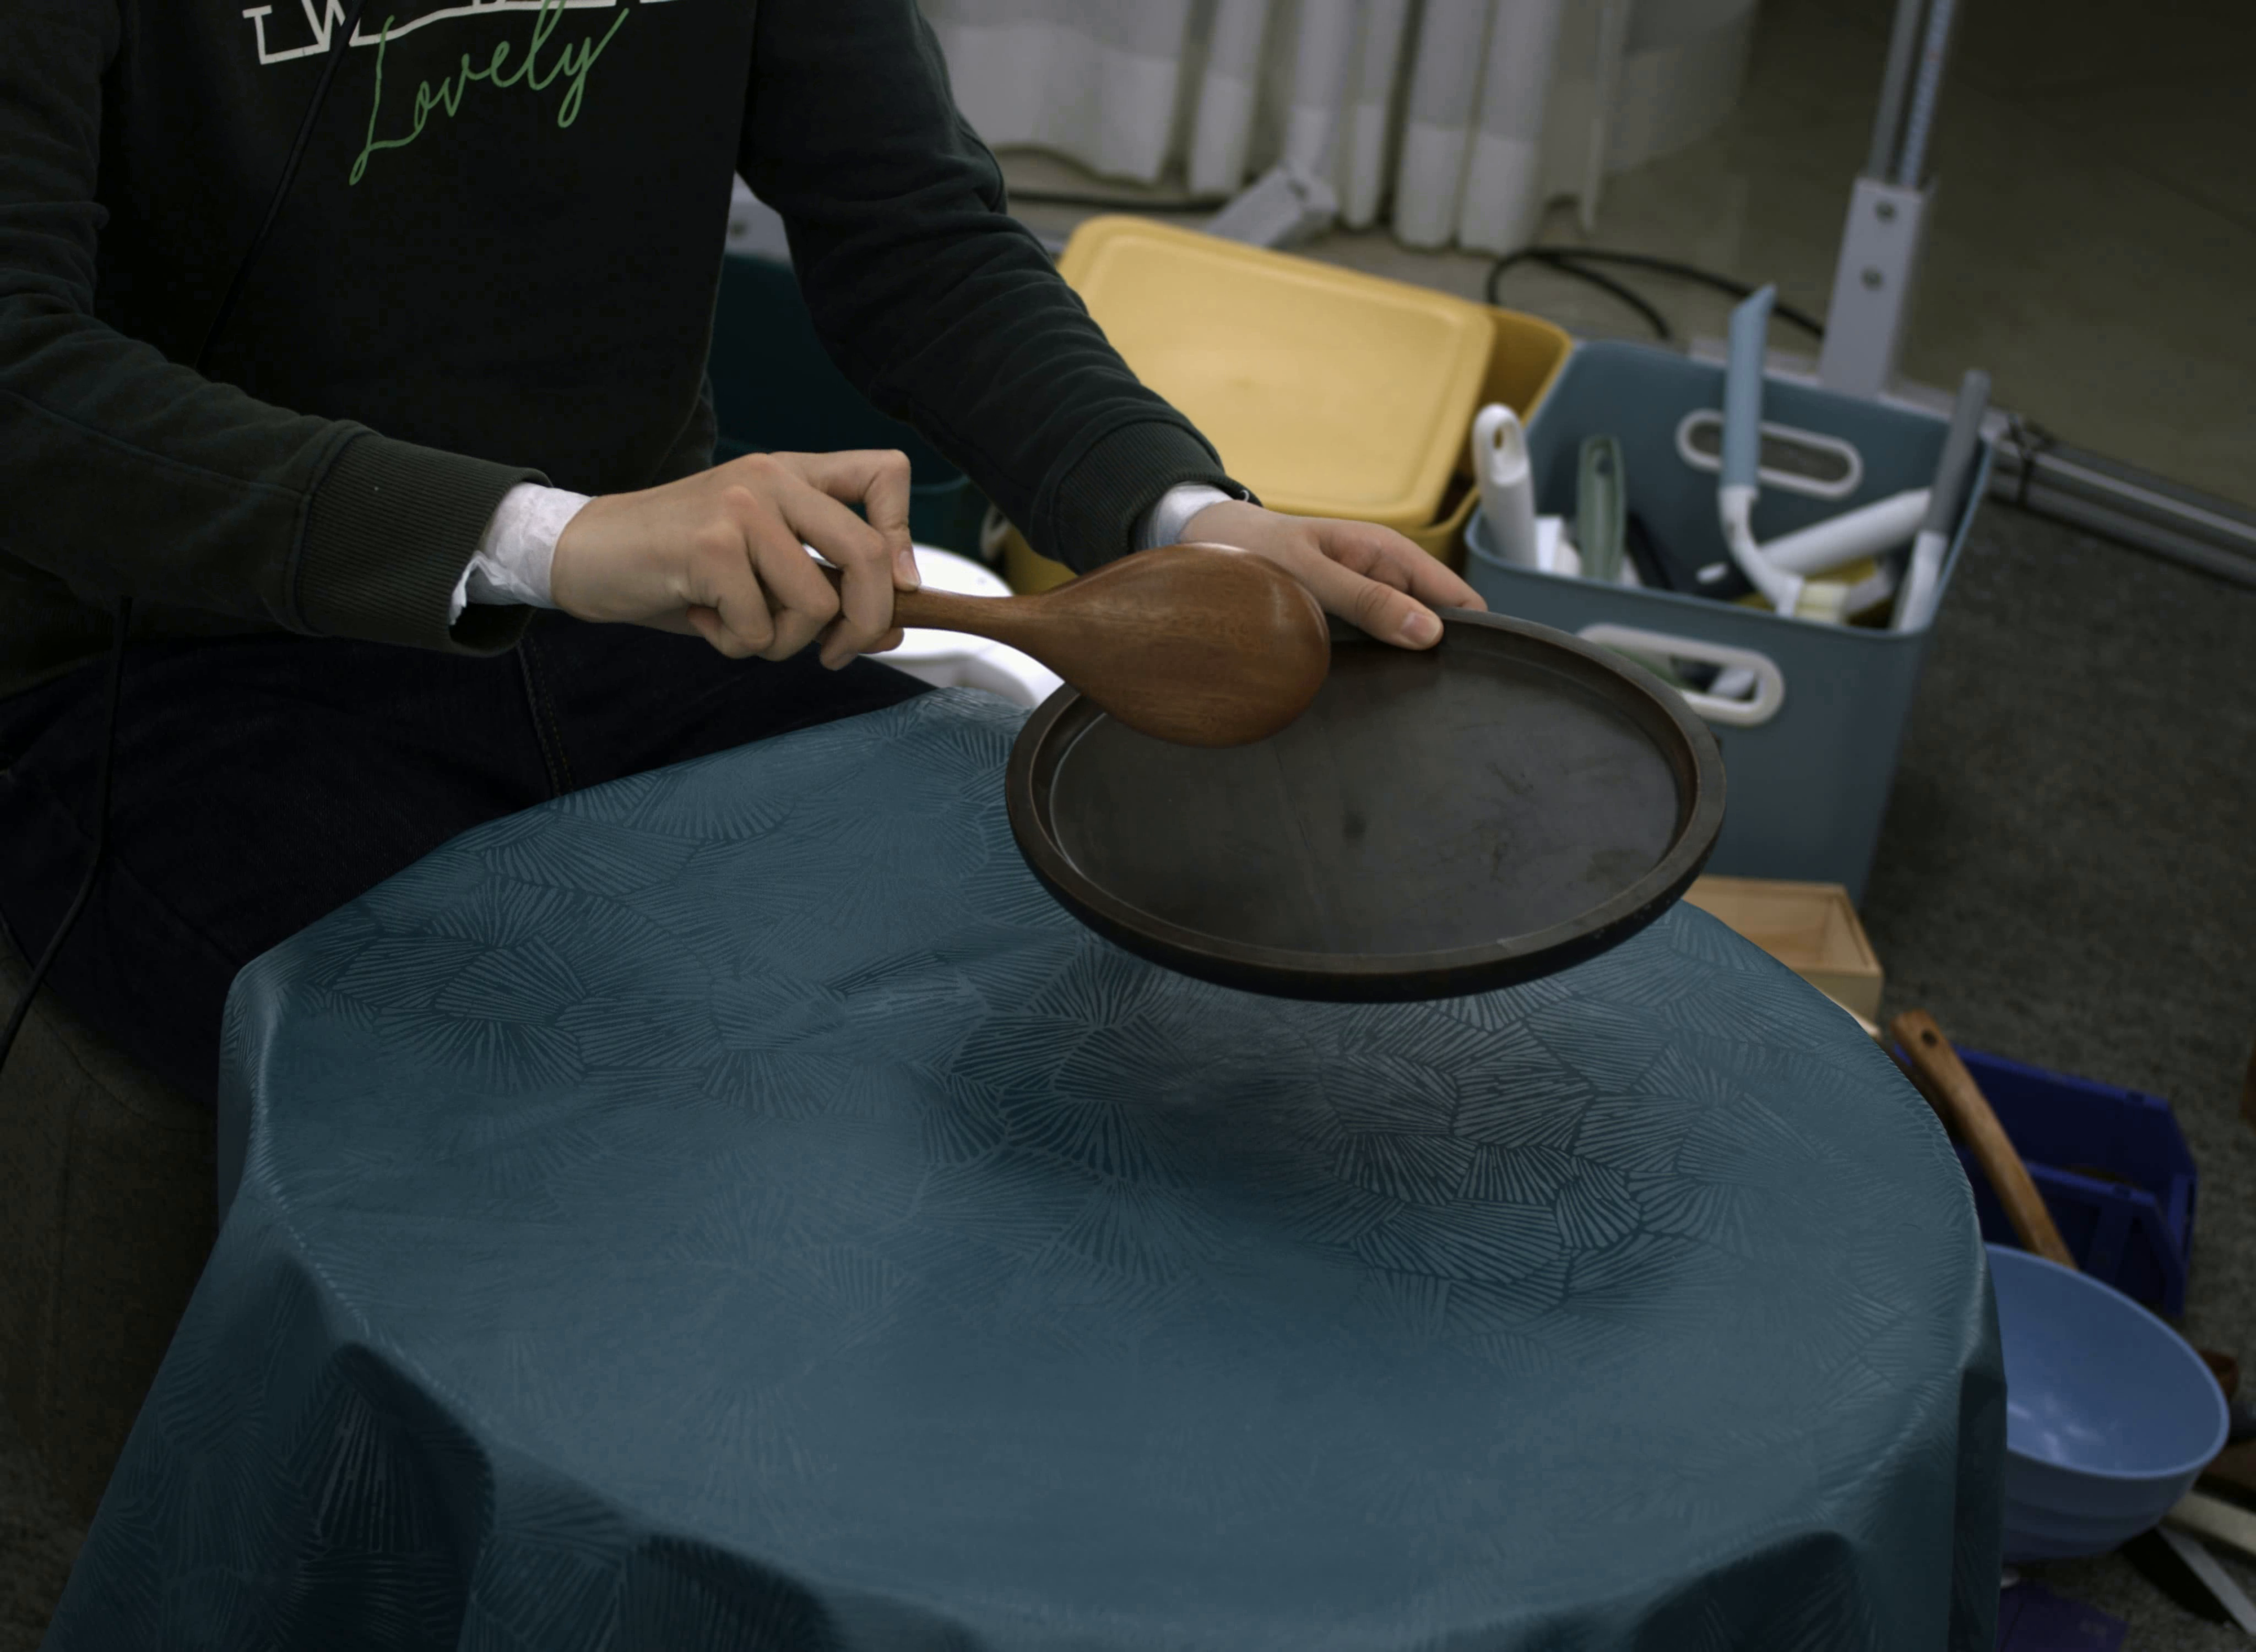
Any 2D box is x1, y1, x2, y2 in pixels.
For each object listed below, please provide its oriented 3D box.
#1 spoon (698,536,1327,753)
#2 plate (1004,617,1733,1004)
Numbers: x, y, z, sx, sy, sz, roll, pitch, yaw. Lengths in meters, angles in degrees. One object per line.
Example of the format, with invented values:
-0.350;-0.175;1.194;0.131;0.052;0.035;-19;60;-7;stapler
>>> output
-0.039;-0.069;1.805;0.215;0.075;0.017;10;23;0;spoon
0.083;-0.008;1.856;0.254;0.029;0.256;0;31;0;plate
